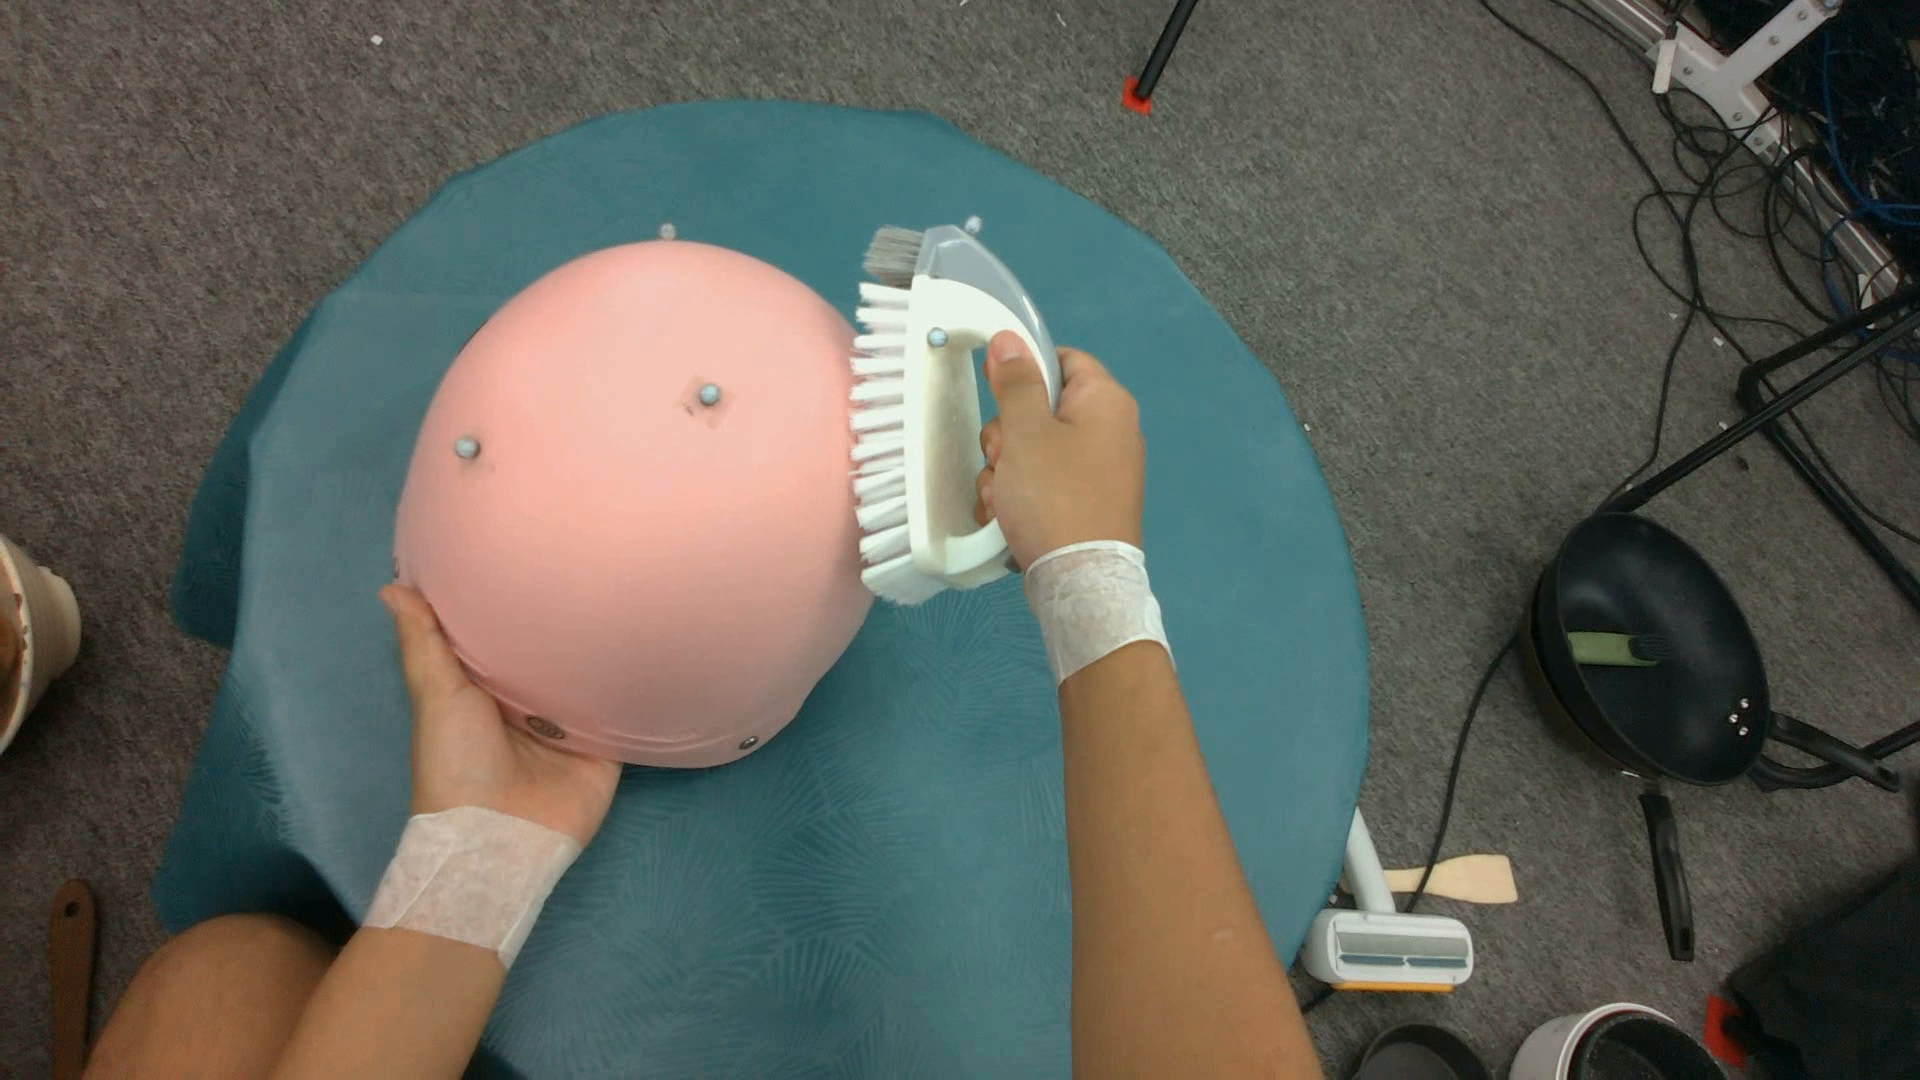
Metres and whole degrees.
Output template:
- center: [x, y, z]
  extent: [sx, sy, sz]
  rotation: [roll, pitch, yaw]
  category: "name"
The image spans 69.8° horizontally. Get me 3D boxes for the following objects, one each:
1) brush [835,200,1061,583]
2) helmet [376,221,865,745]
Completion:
- center: [-0.005, -0.074, 0.588]
  extent: [0.094, 0.061, 0.176]
  rotation: [-11, 70, 21]
  category: "brush"
- center: [-0.133, -0.051, 0.627]
  extent: [0.234, 0.158, 0.267]
  rotation: [26, 55, -8]
  category: "helmet"
